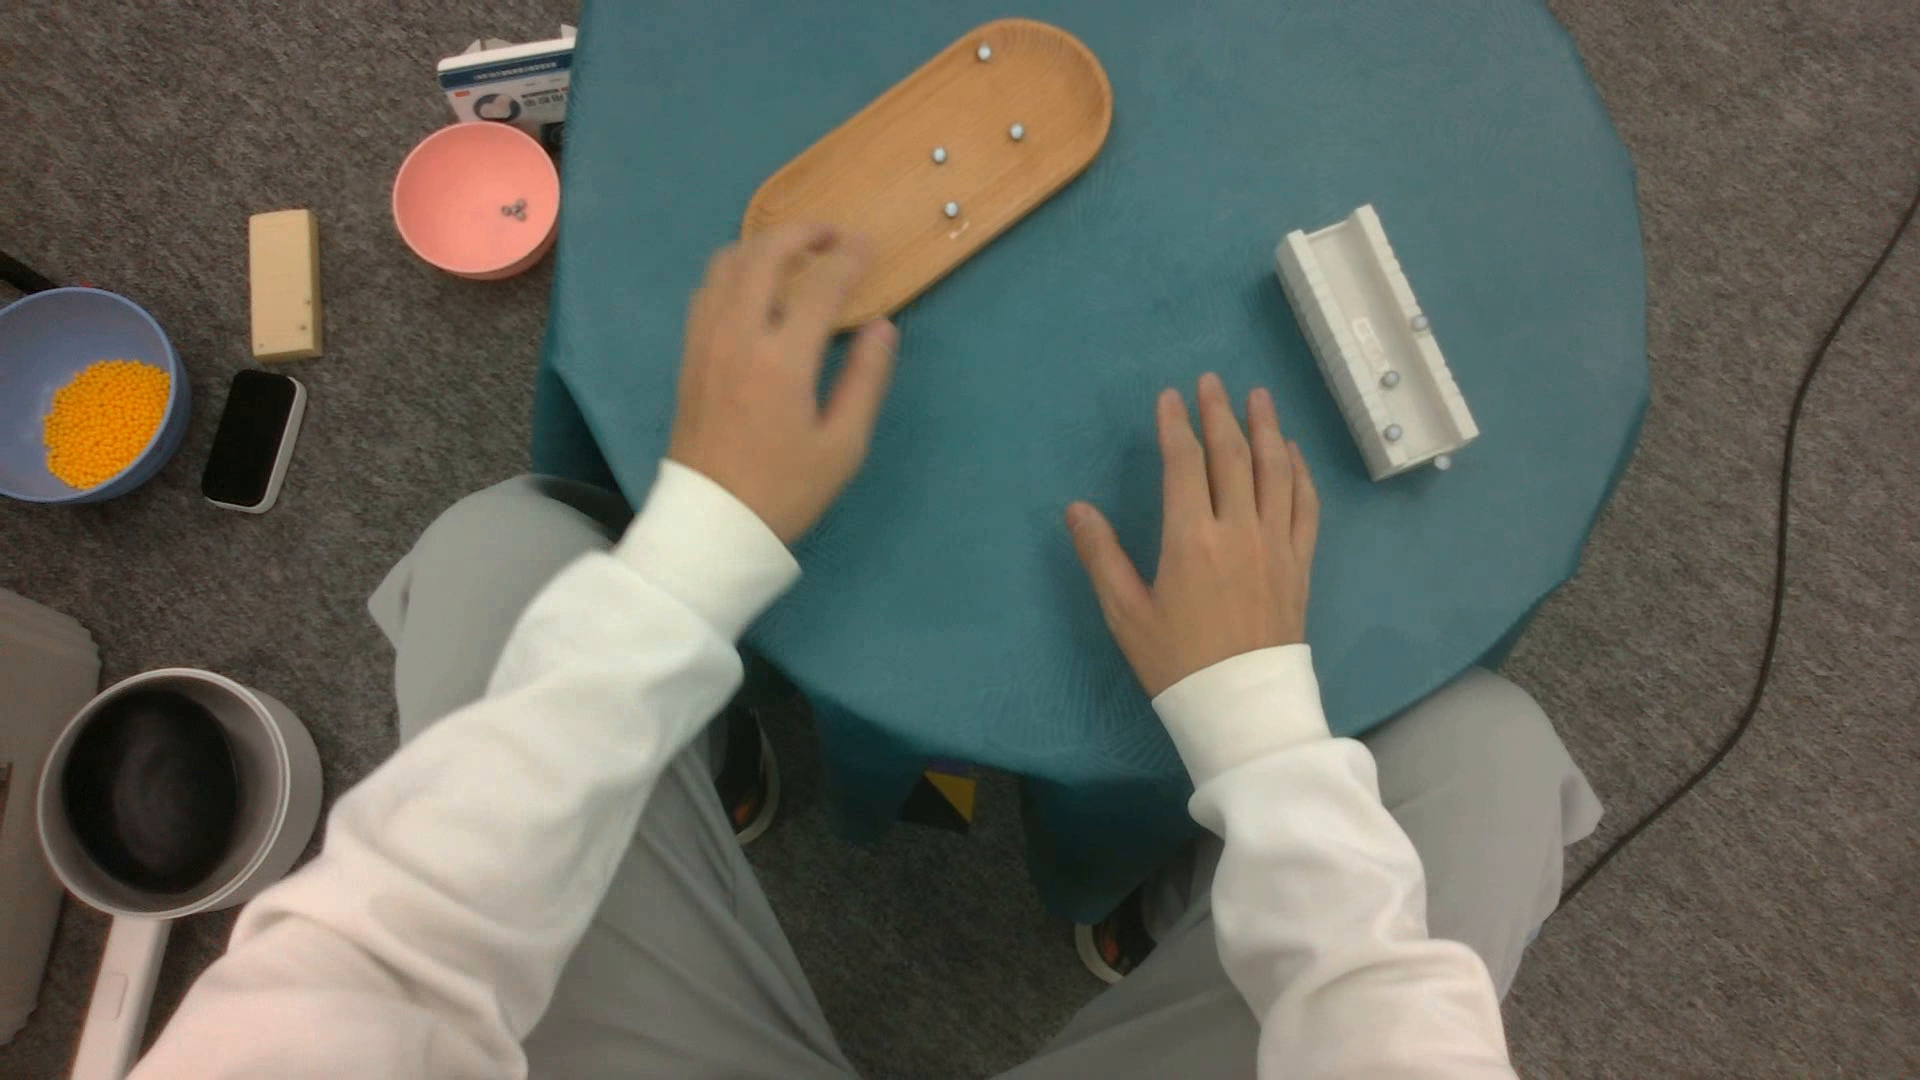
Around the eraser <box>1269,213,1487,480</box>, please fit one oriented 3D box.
[{"bbox_3d":[0.221,-0.102,0.737,0.050,0.046,0.134,-27,78,-1],"label":"eraser"}]

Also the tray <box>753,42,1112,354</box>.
[{"bbox_3d":[-0.014,-0.193,0.772,0.231,0.020,0.102,-40,79,-8],"label":"tray"}]
